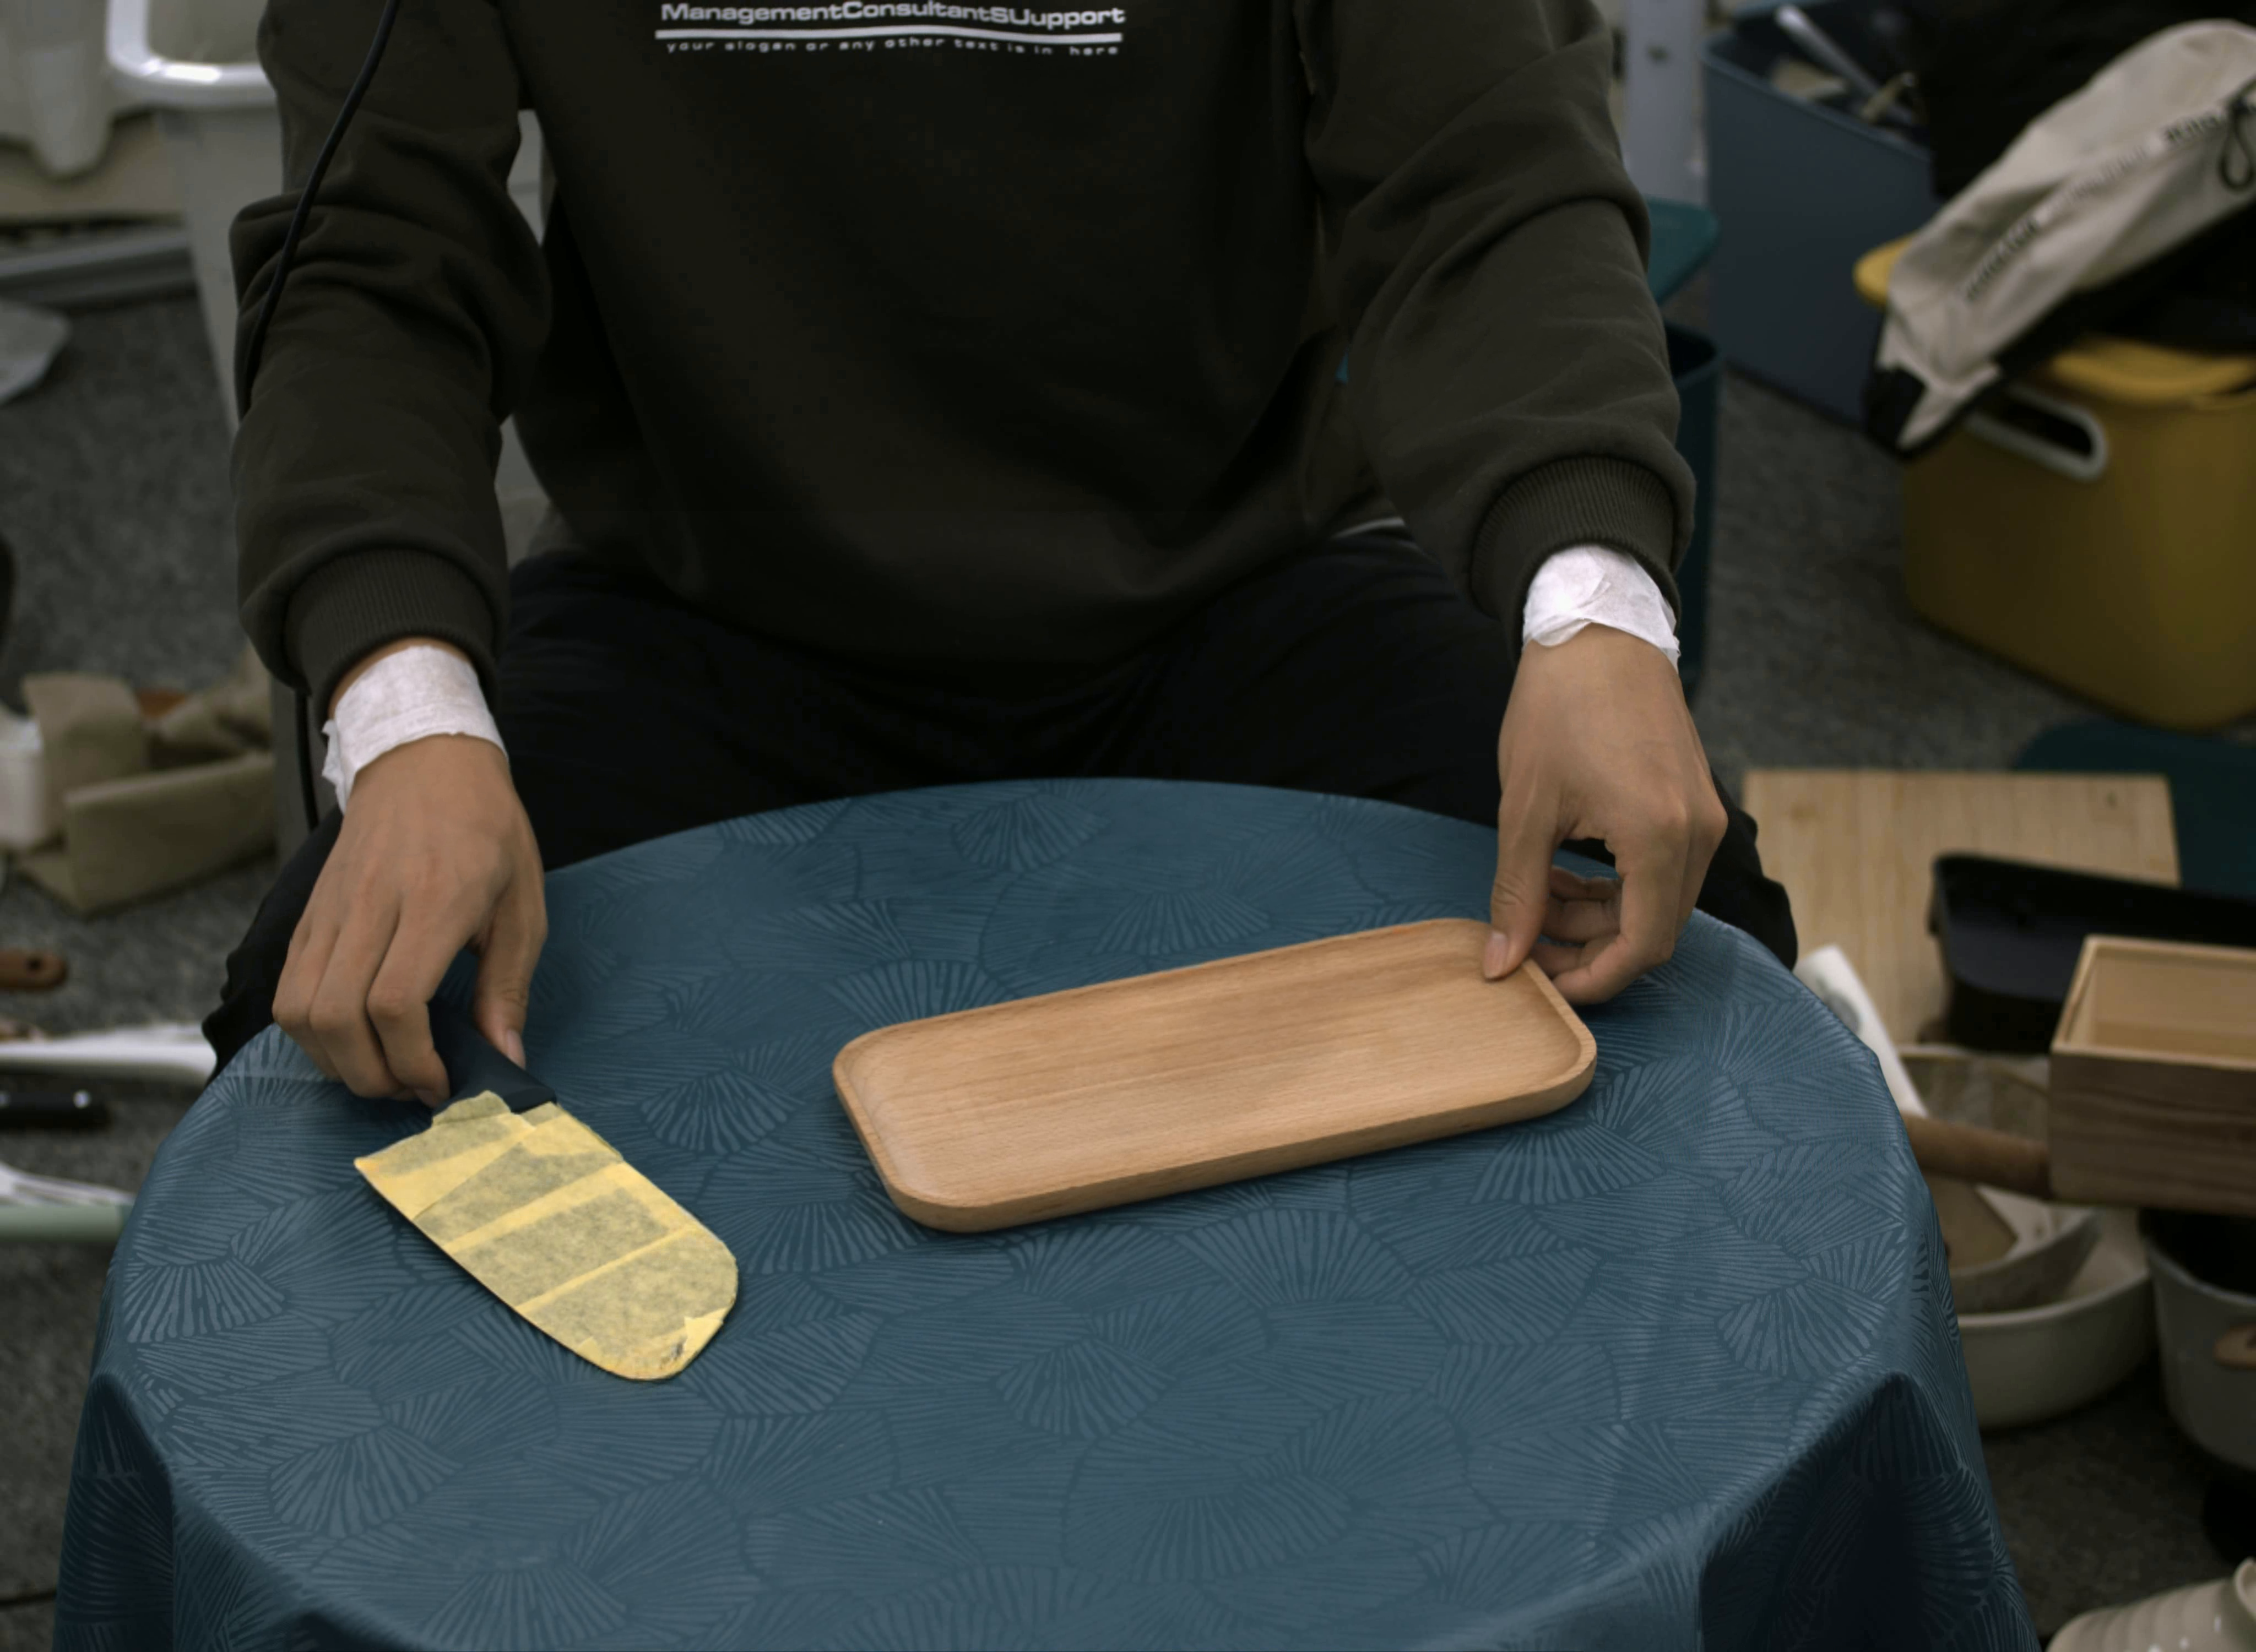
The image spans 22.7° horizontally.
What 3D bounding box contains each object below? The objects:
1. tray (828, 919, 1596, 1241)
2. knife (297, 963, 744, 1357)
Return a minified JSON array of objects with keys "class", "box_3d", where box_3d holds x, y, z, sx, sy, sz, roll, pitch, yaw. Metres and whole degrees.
[{"class":"tray","box_3d":[0.028,0.086,1.911,0.251,0.022,0.131,-11,26,-14]},{"class":"knife","box_3d":[-0.216,0.113,1.883,0.081,0.027,0.290,-19,32,-28]}]
